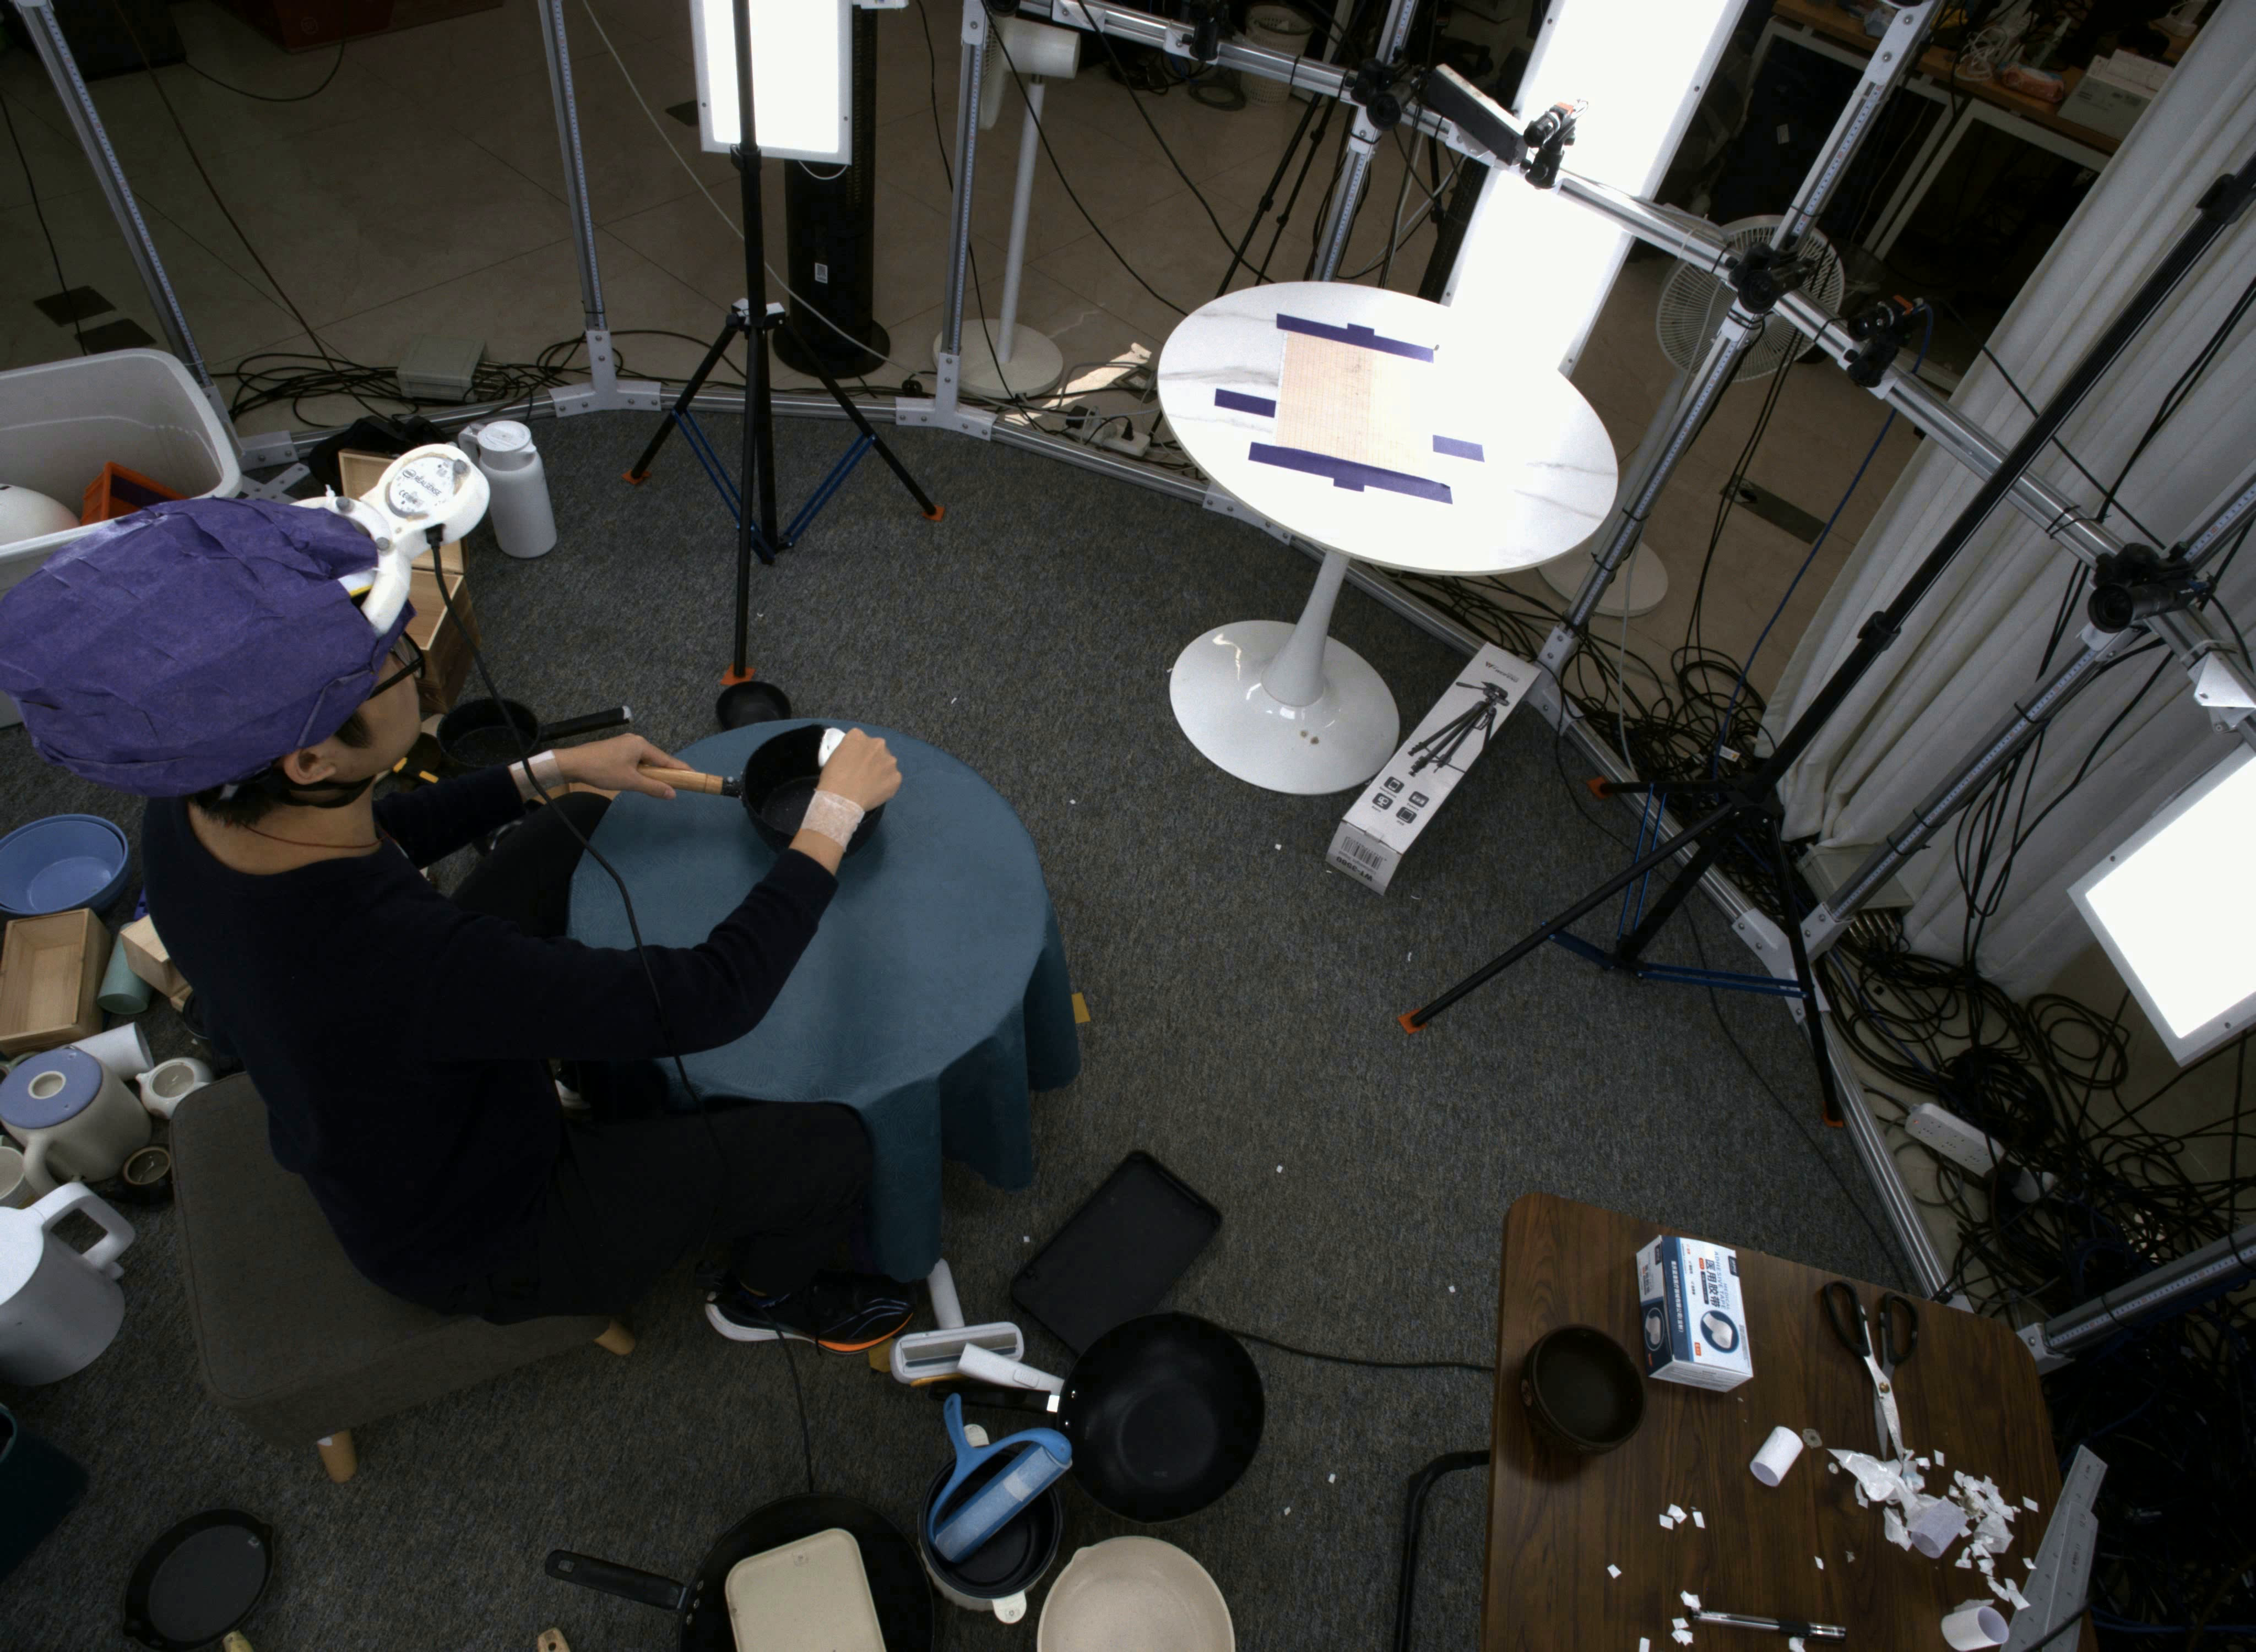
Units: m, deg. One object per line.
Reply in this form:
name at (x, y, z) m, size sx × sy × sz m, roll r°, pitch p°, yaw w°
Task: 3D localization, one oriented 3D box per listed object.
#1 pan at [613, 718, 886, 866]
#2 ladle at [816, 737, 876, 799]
pan at (-0.484, -0.042, 1.659) m, size 0.344 × 0.110 × 0.203 m, roll 1°, pitch 54°, yaw -16°
ladle at (-0.335, -0.080, 1.588) m, size 0.070 × 0.288 × 0.092 m, roll -35°, pitch 99°, yaw -20°
